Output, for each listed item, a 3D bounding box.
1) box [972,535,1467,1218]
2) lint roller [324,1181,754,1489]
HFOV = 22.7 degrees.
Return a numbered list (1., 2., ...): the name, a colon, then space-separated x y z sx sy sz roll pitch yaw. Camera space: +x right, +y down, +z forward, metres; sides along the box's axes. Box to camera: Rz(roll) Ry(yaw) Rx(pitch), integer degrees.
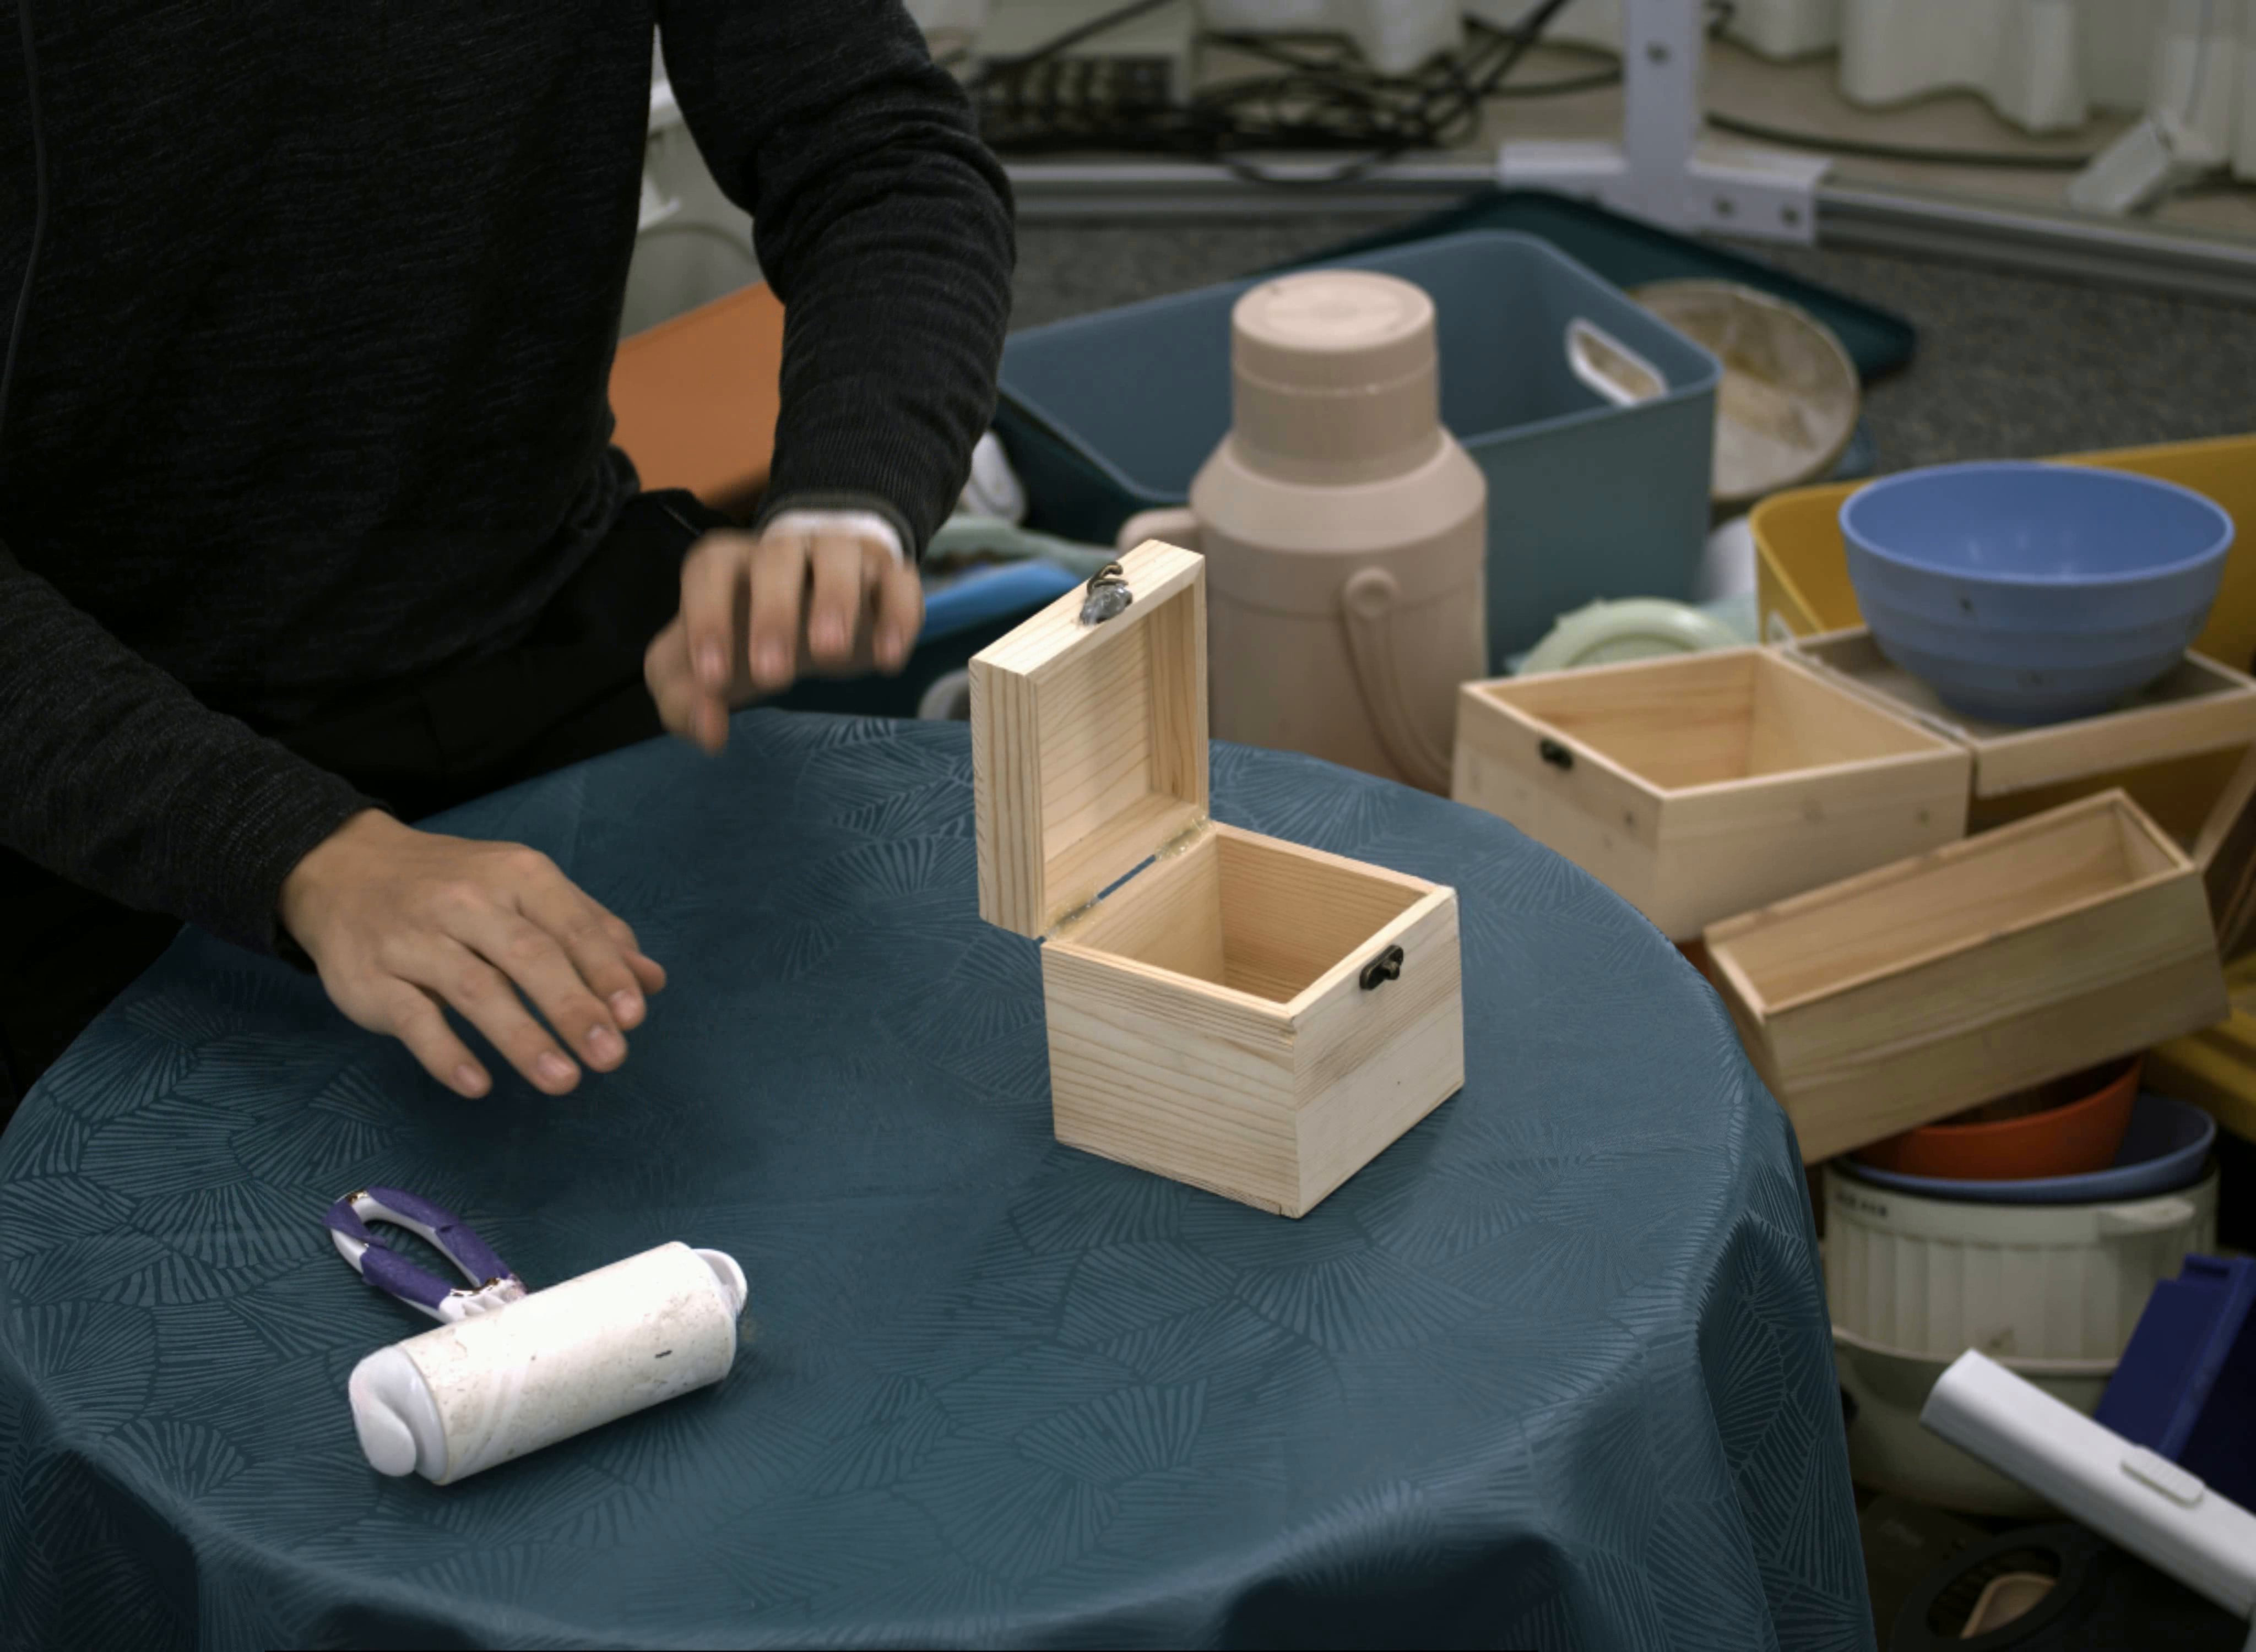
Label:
1. box: 0.033 0.015 1.867 0.133 0.182 0.104 15 31 33
2. lint roller: -0.211 0.142 1.792 0.134 0.049 0.181 -18 33 -26
